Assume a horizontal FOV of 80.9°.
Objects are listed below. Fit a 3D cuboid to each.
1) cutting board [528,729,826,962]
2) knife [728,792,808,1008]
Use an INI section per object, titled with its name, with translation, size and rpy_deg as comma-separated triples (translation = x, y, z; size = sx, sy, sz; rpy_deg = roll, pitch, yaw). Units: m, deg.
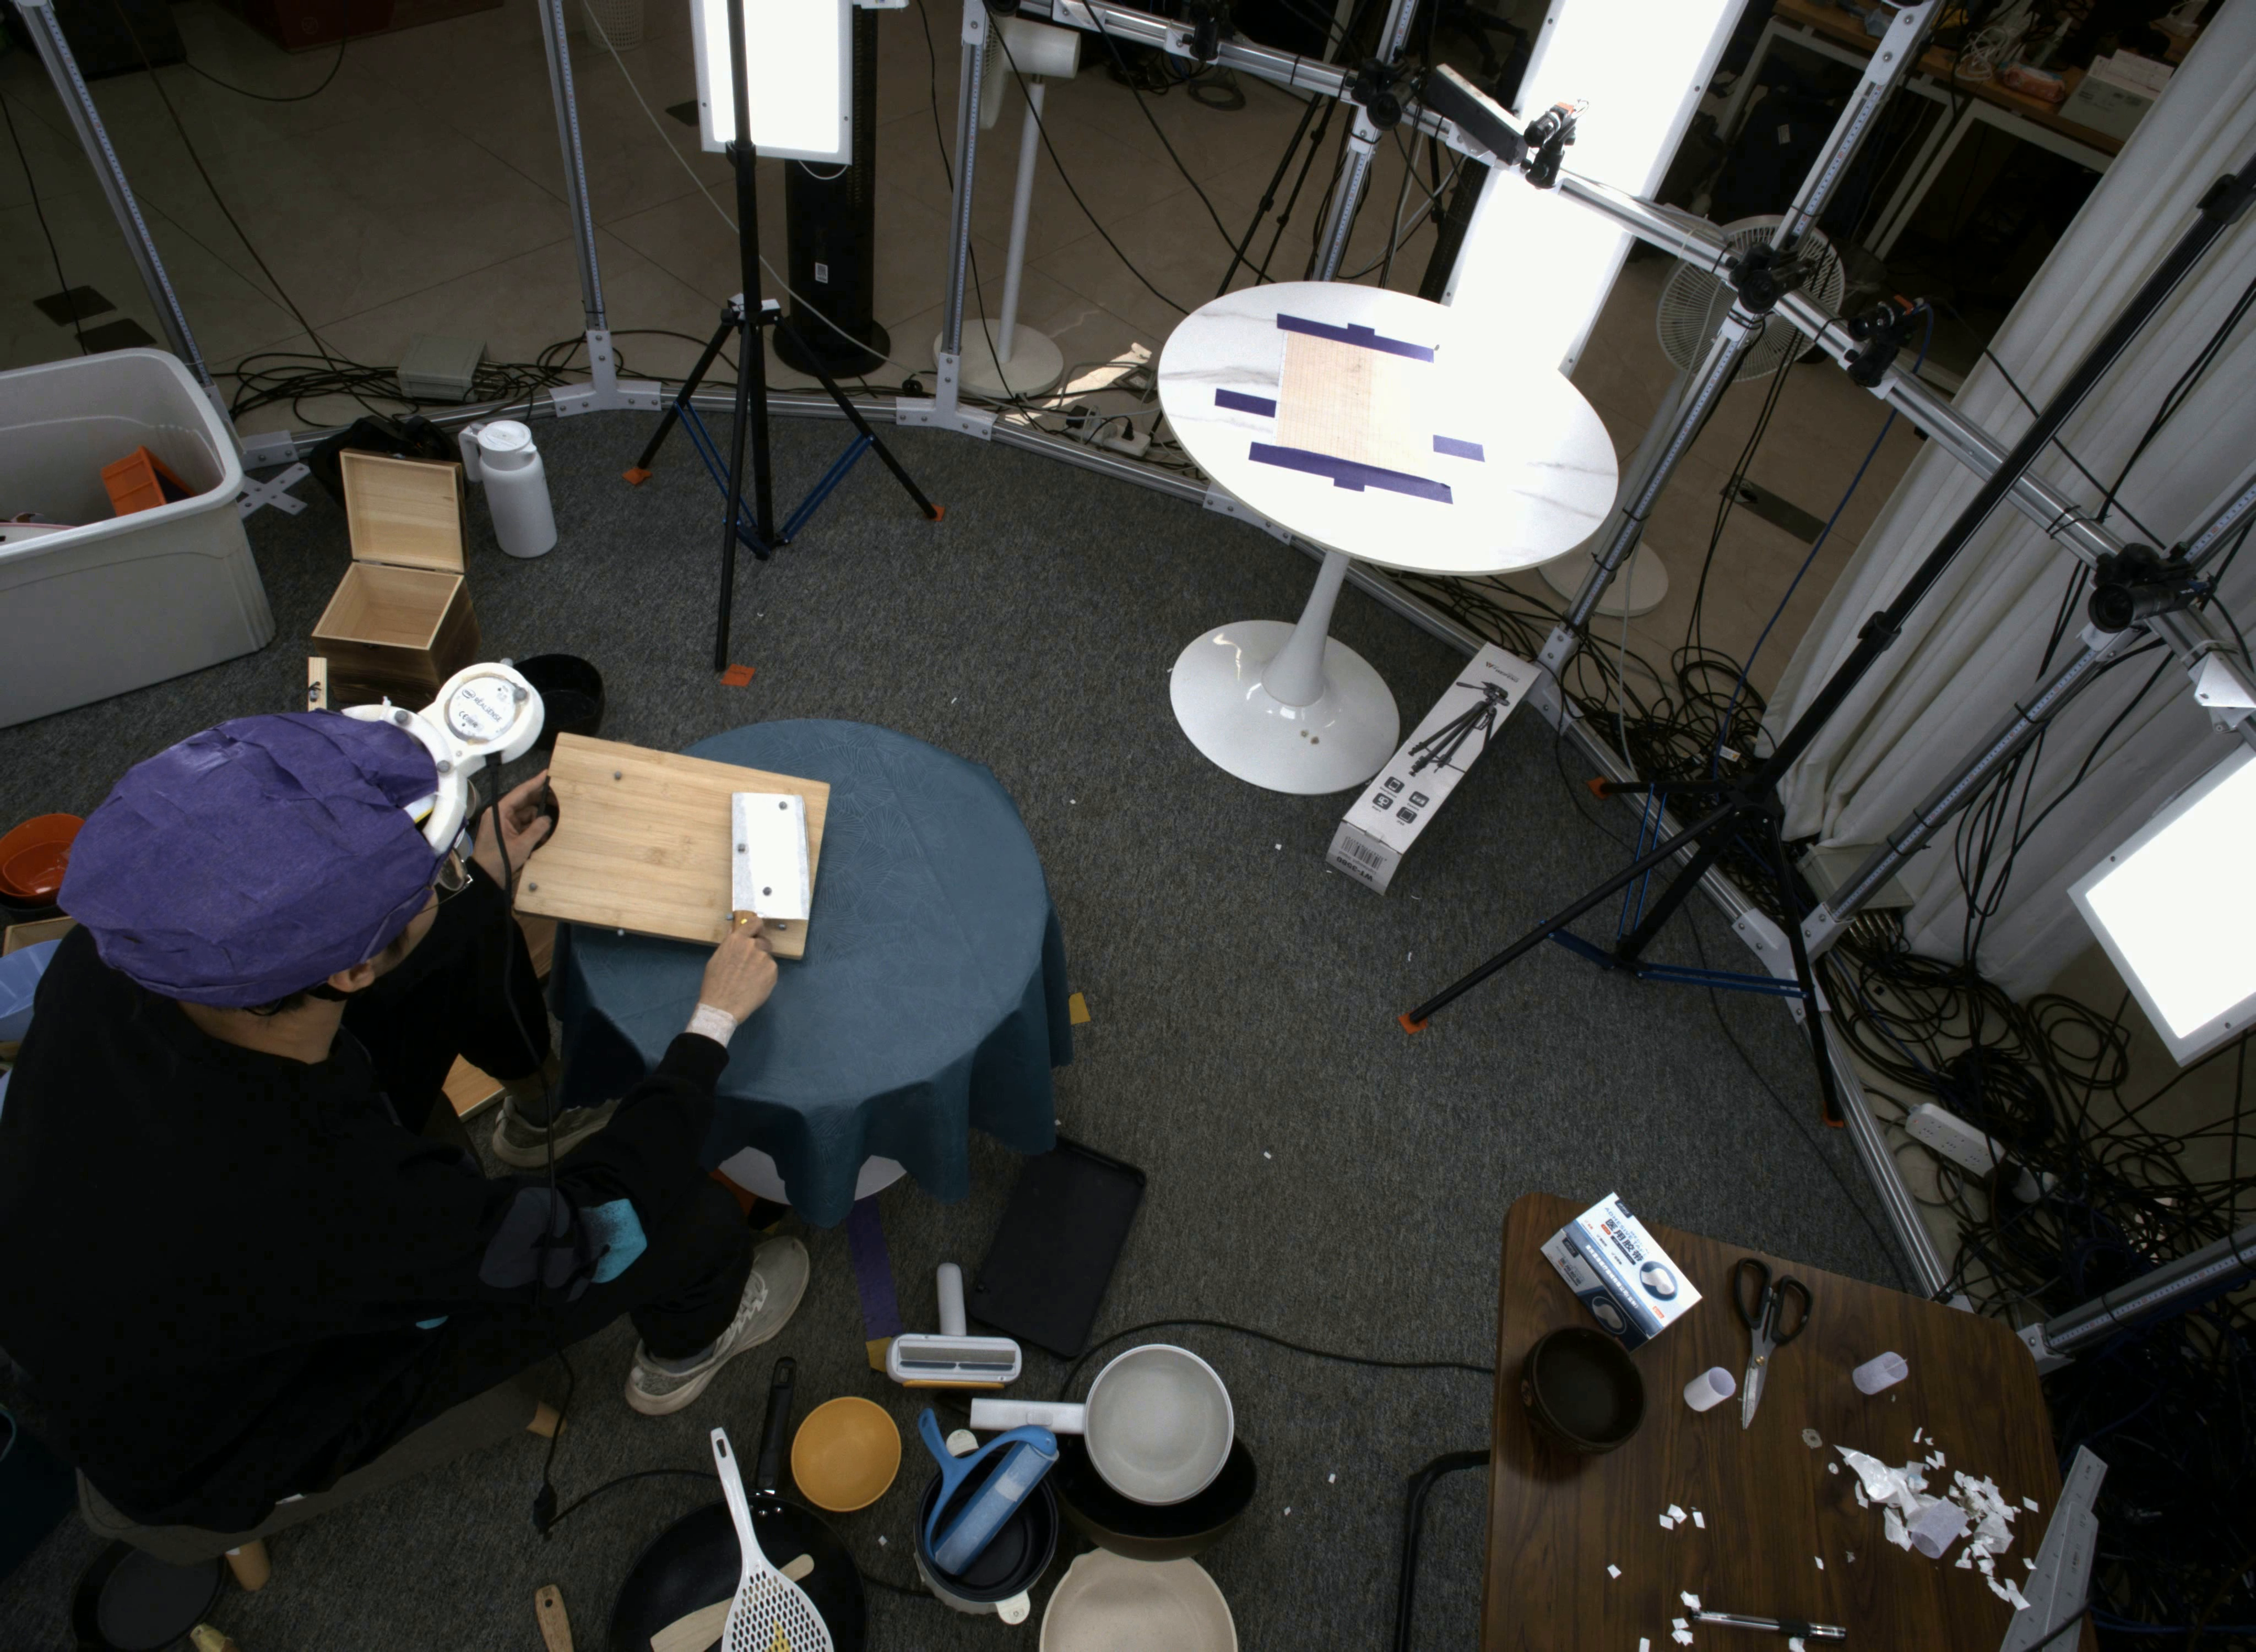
[cutting board]
translation = -0.559, 0.021, 1.578
size = 0.352, 0.023, 0.248
rpy_deg = 10, 65, -20
[knife]
translation = -0.433, 0.079, 1.556
size = 0.094, 0.021, 0.299
rpy_deg = 2, 55, -22
